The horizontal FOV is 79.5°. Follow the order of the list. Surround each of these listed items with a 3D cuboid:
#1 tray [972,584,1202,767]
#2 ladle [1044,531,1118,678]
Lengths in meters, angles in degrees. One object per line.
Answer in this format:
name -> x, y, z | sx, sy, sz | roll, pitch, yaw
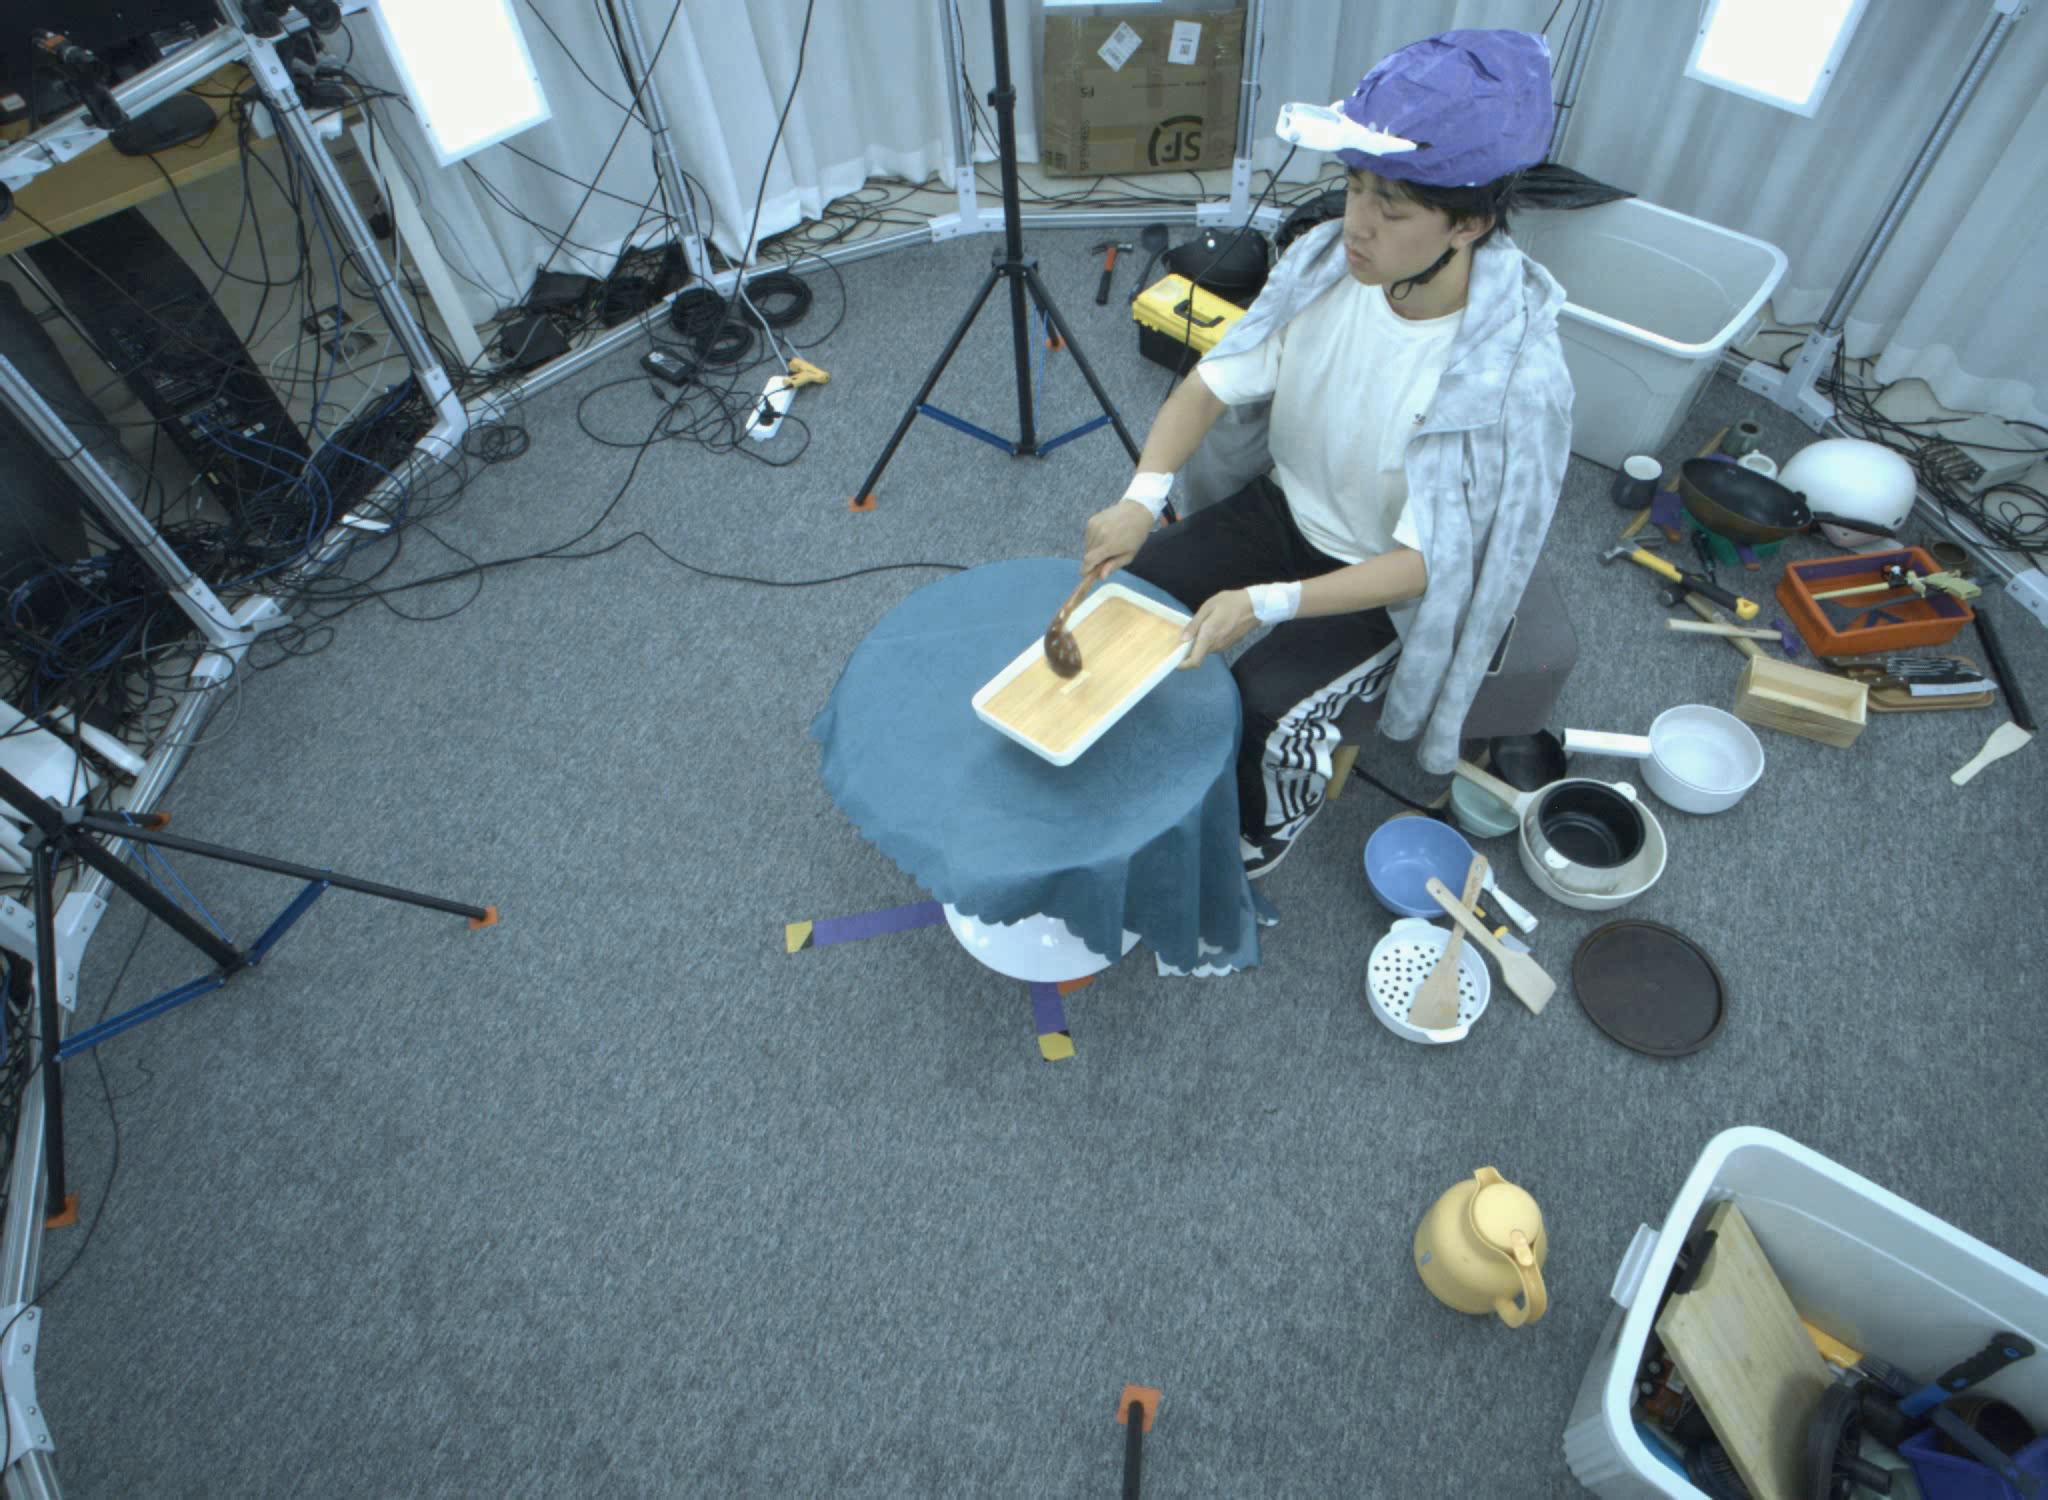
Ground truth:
tray -> 0.090, -0.112, 1.738 | 0.302, 0.028, 0.187 | -42, 51, -20
ladle -> 0.101, -0.210, 1.728 | 0.076, 0.082, 0.274 | 28, 55, 7
